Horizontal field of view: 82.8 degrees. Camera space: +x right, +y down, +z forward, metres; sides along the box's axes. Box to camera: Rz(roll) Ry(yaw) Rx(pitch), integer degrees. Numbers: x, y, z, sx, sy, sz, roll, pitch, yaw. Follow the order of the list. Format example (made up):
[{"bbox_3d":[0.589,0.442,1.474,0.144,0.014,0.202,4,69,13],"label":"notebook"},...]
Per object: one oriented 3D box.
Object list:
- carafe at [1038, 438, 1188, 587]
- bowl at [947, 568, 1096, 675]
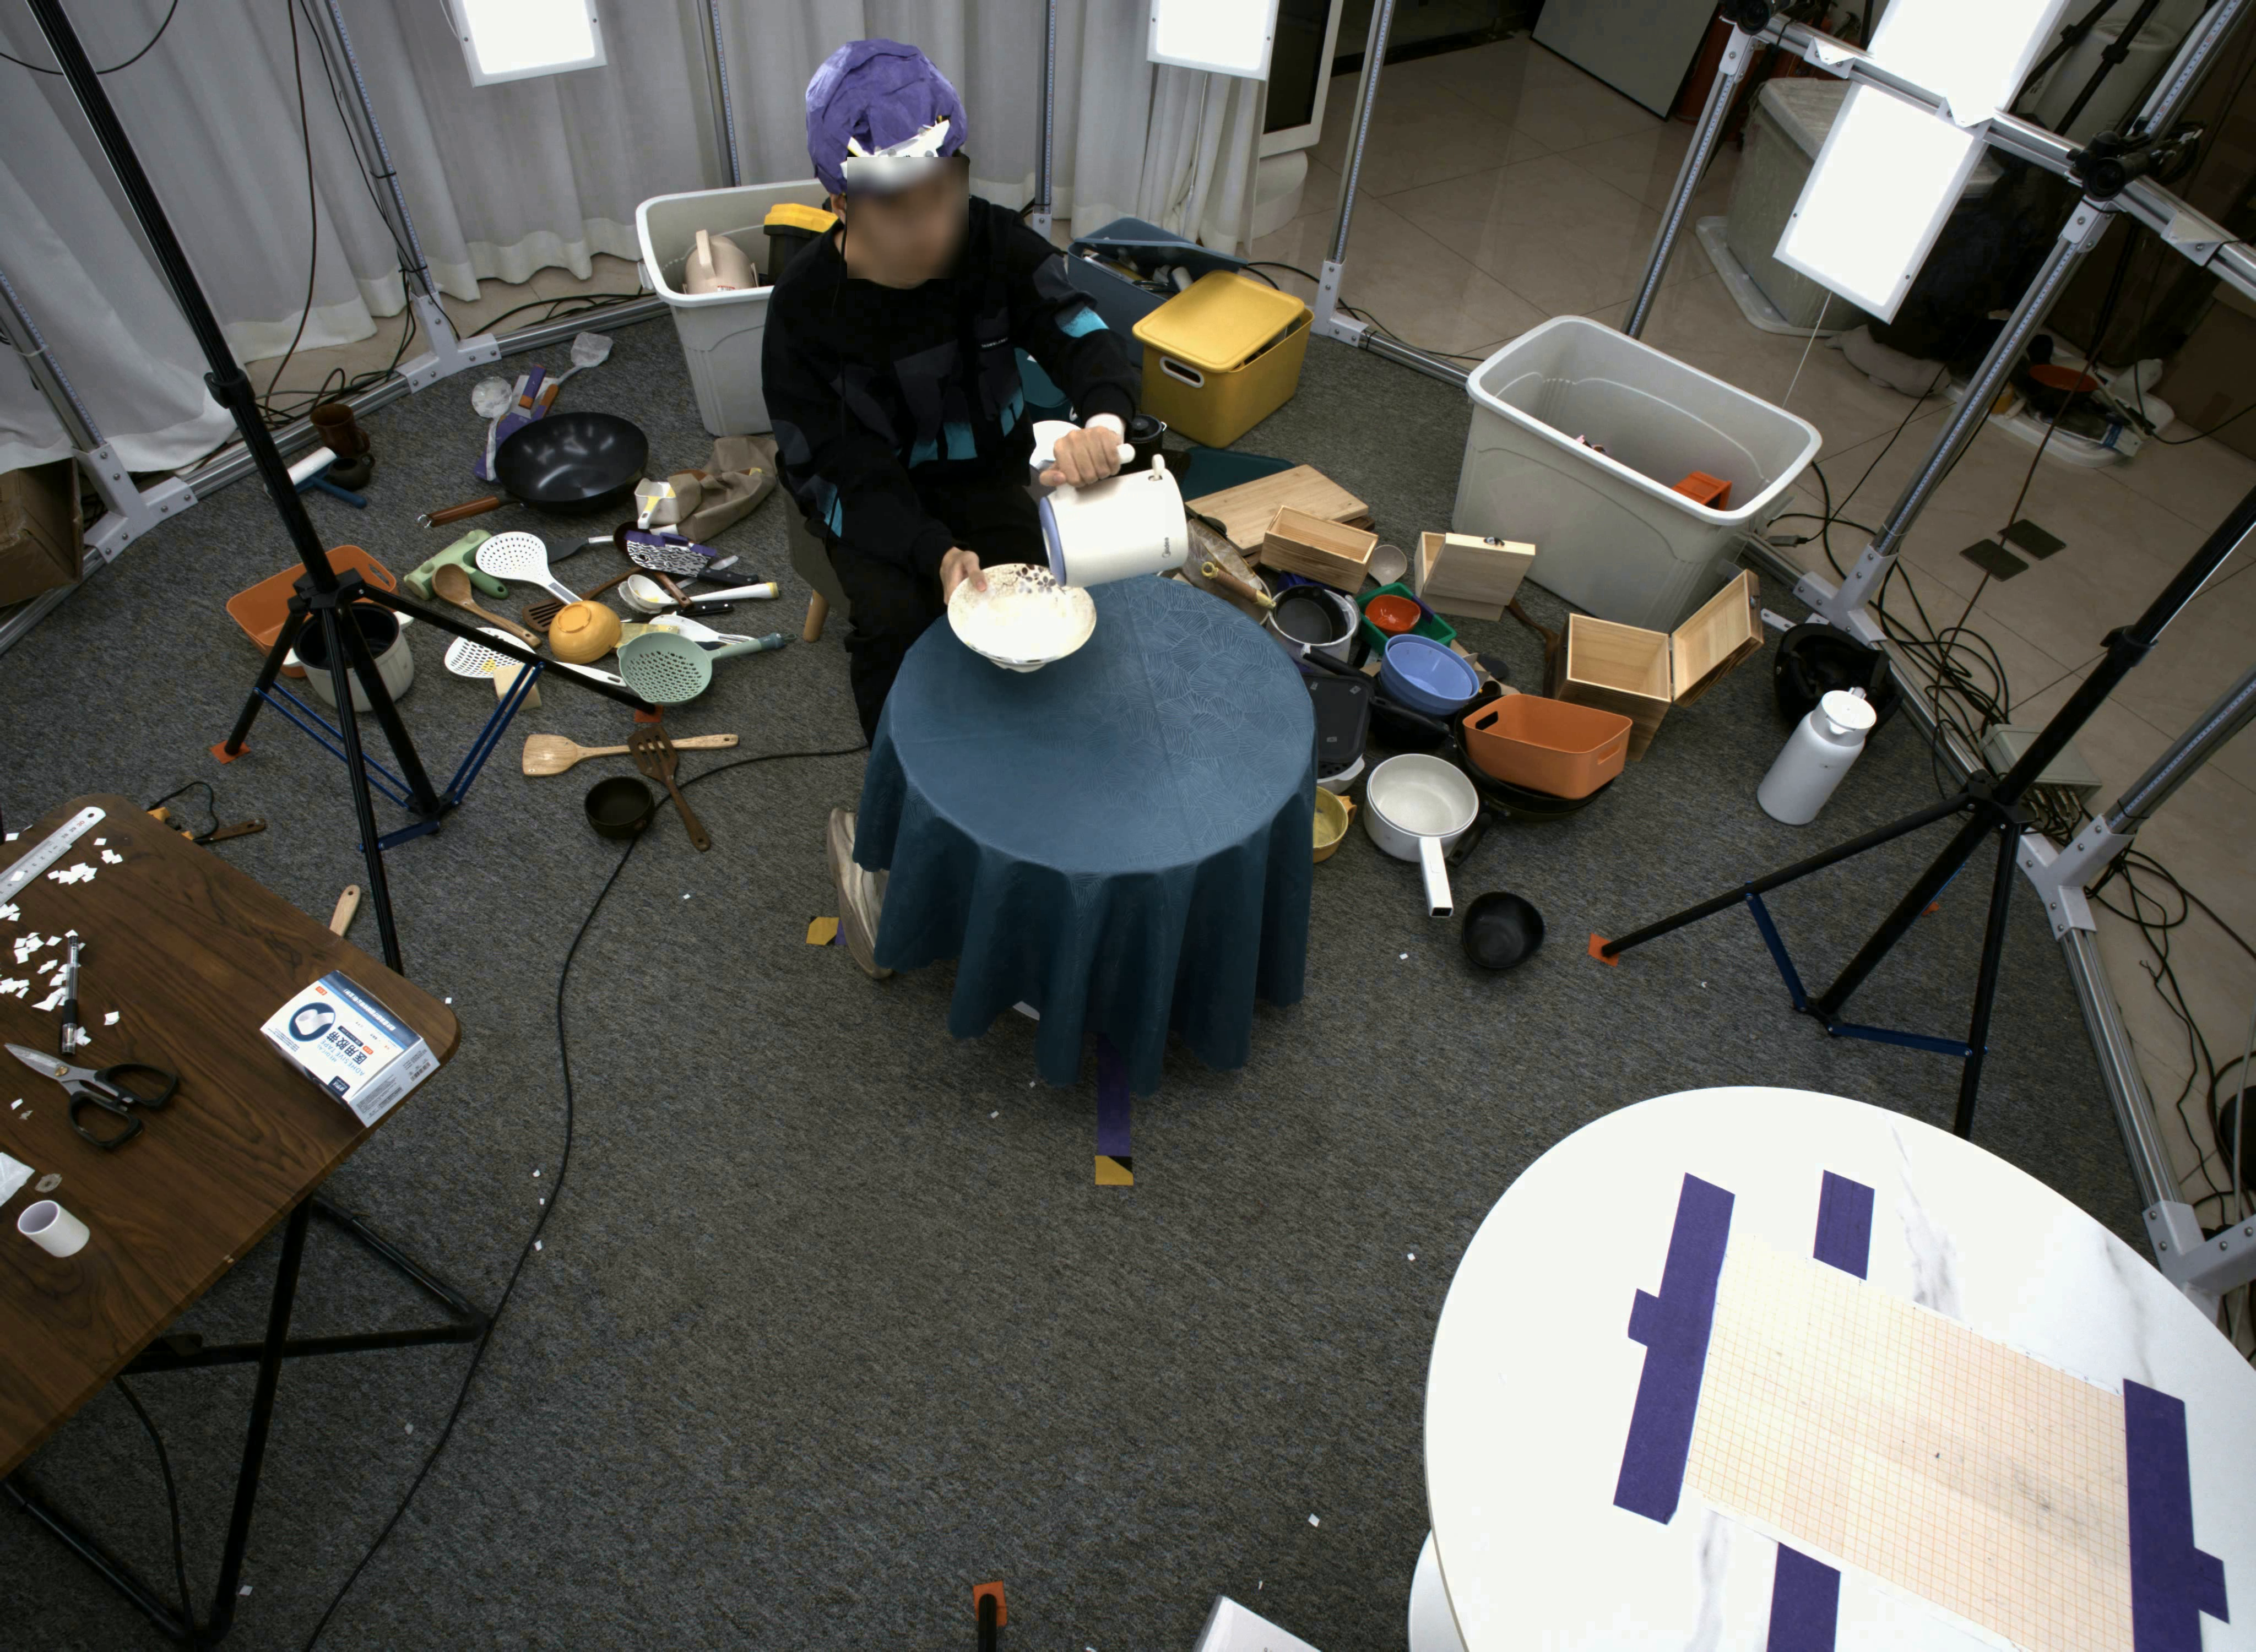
[{"bbox_3d":[-0.021,-0.406,1.665,0.182,0.186,0.135,-12,43,-9],"label":"carafe"},{"bbox_3d":[-0.149,-0.269,1.794,0.204,0.076,0.209,3,46,-4],"label":"bowl"}]
